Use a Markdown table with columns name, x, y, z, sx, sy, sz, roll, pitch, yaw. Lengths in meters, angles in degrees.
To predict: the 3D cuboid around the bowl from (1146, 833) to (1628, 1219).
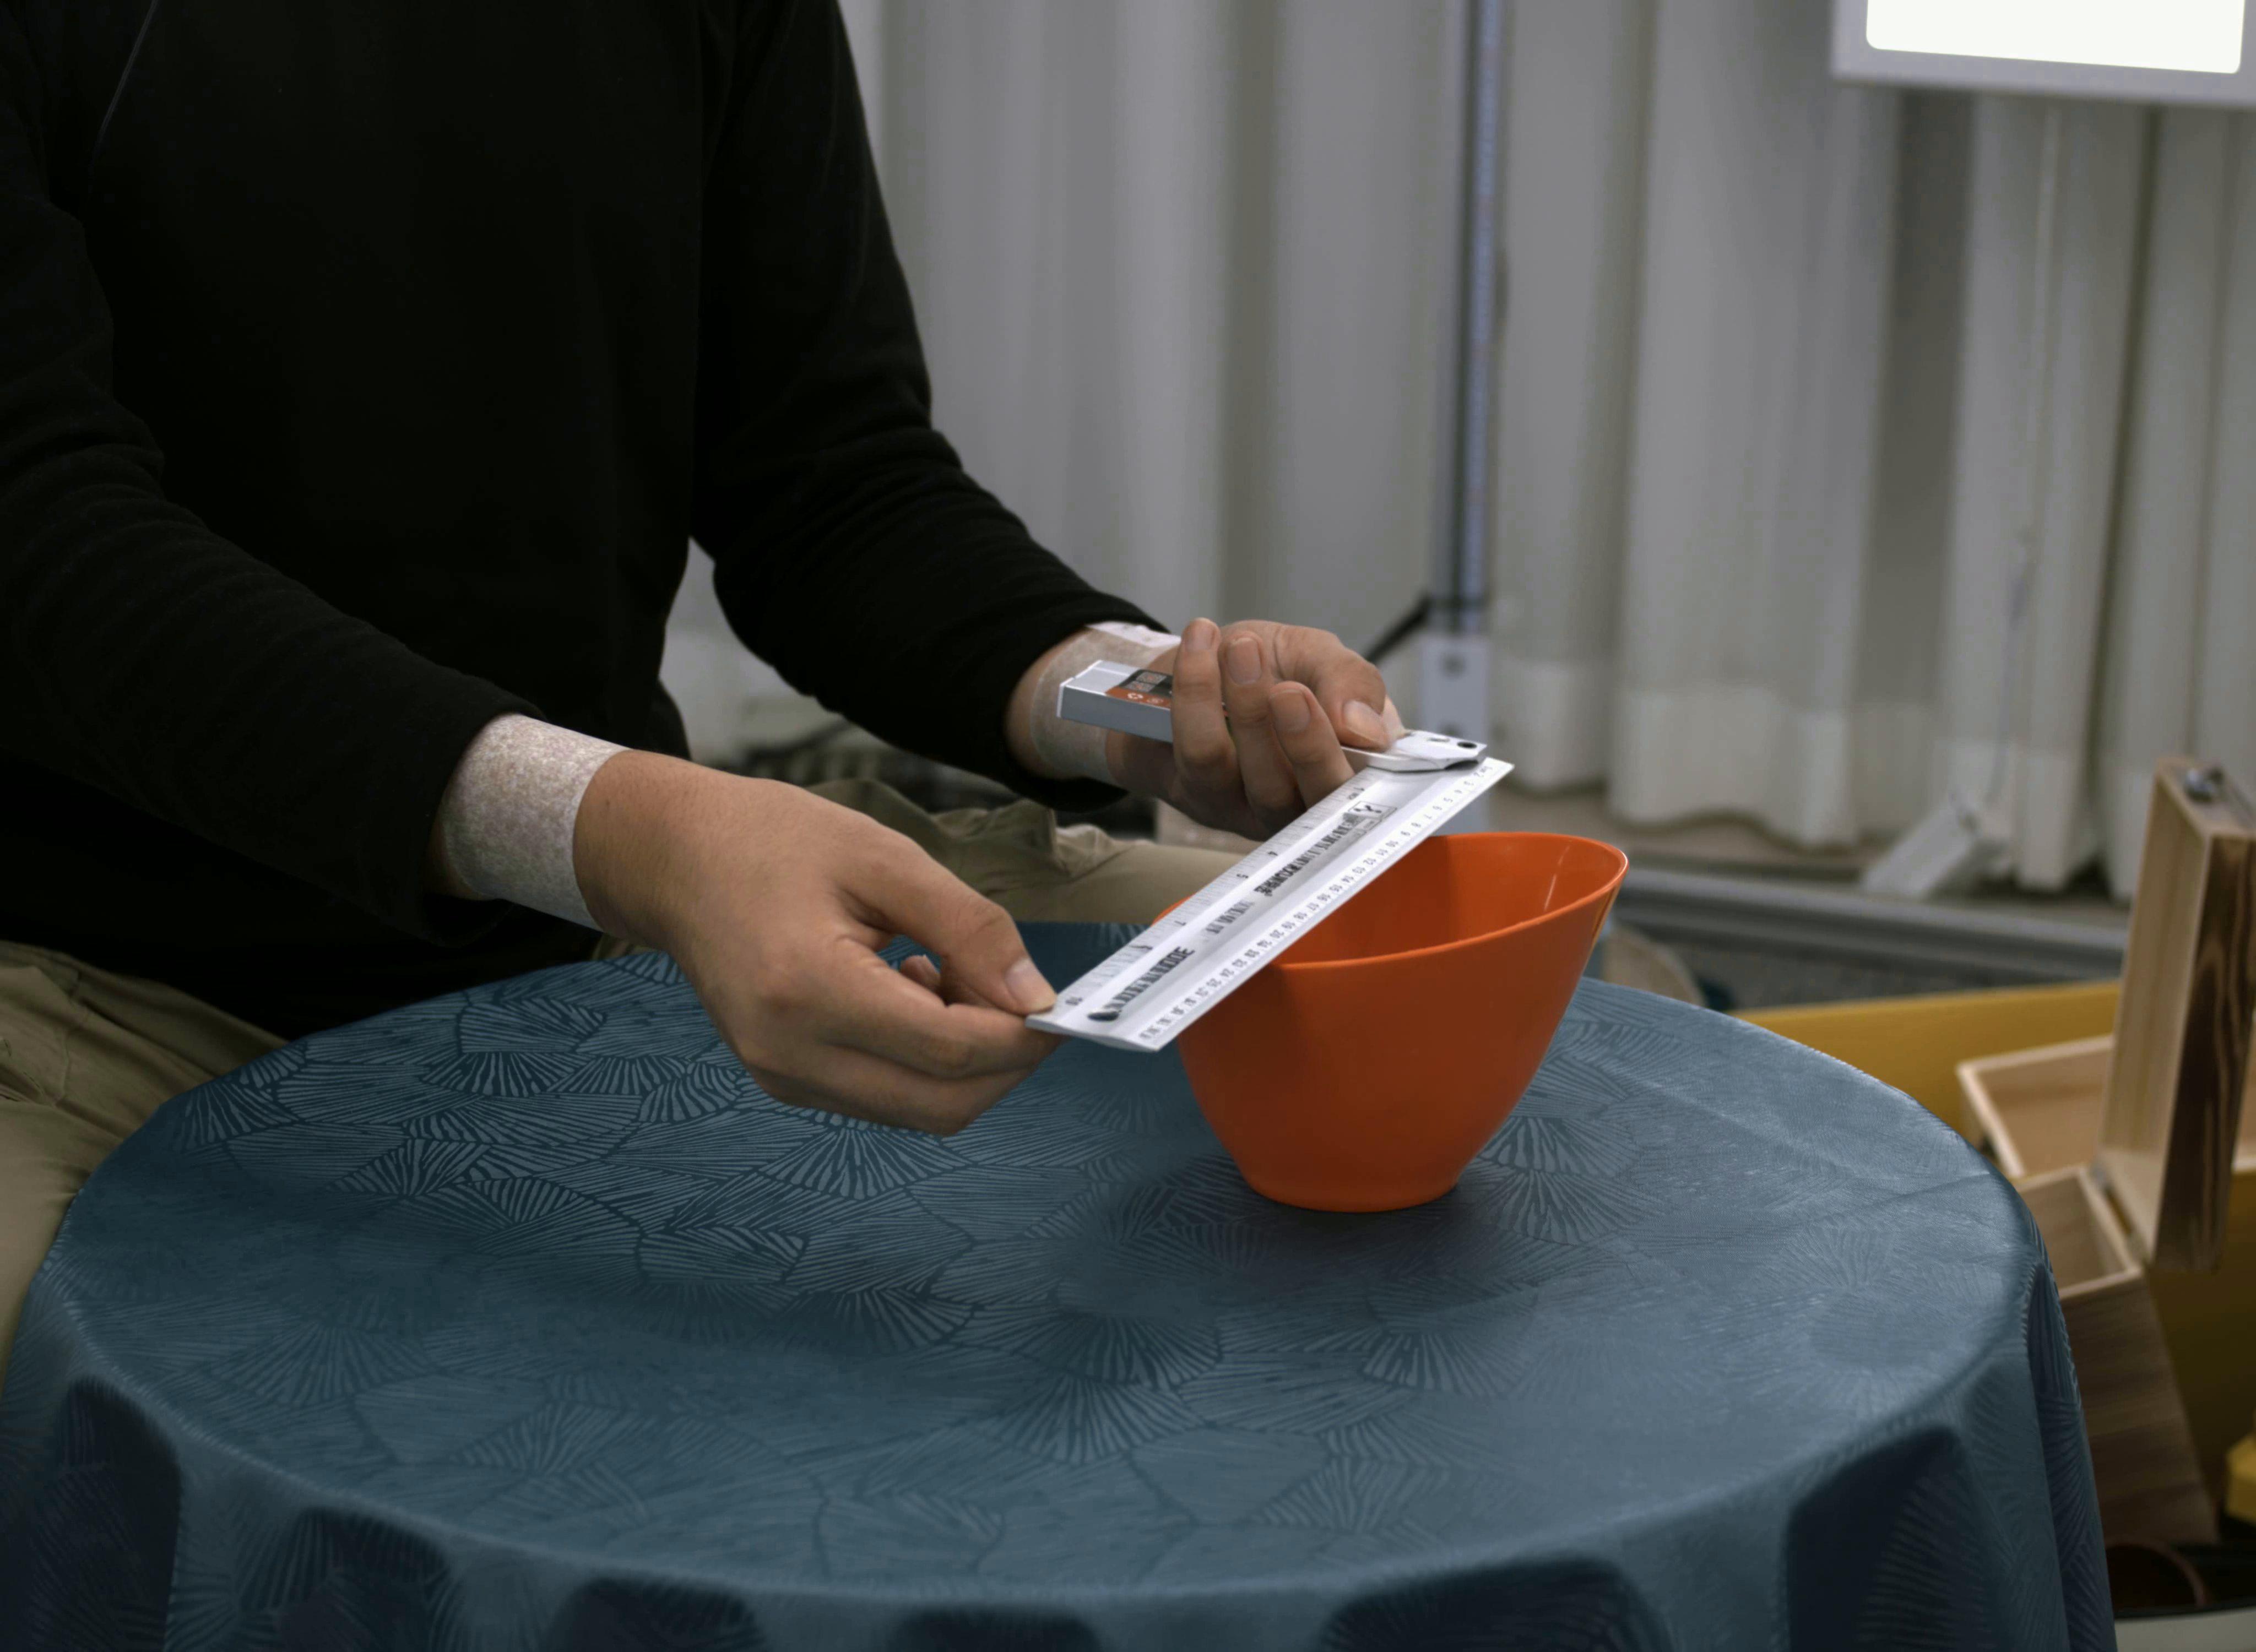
| name | x | y | z | sx | sy | sz | roll | pitch | yaw |
| --- | --- | --- | --- | --- | --- | --- | --- | --- | --- |
| bowl | 0.078 | 0.062 | 1.615 | 0.147 | 0.105 | 0.147 | 0 | 17 | 1 |

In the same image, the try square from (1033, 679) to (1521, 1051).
| name | x | y | z | sx | sy | sz | roll | pitch | yaw |
| --- | --- | --- | --- | --- | --- | --- | --- | --- | --- |
| try square | 0.001 | 0.008 | 1.622 | 0.151 | 0.016 | 0.313 | 11 | 19 | 21 |
